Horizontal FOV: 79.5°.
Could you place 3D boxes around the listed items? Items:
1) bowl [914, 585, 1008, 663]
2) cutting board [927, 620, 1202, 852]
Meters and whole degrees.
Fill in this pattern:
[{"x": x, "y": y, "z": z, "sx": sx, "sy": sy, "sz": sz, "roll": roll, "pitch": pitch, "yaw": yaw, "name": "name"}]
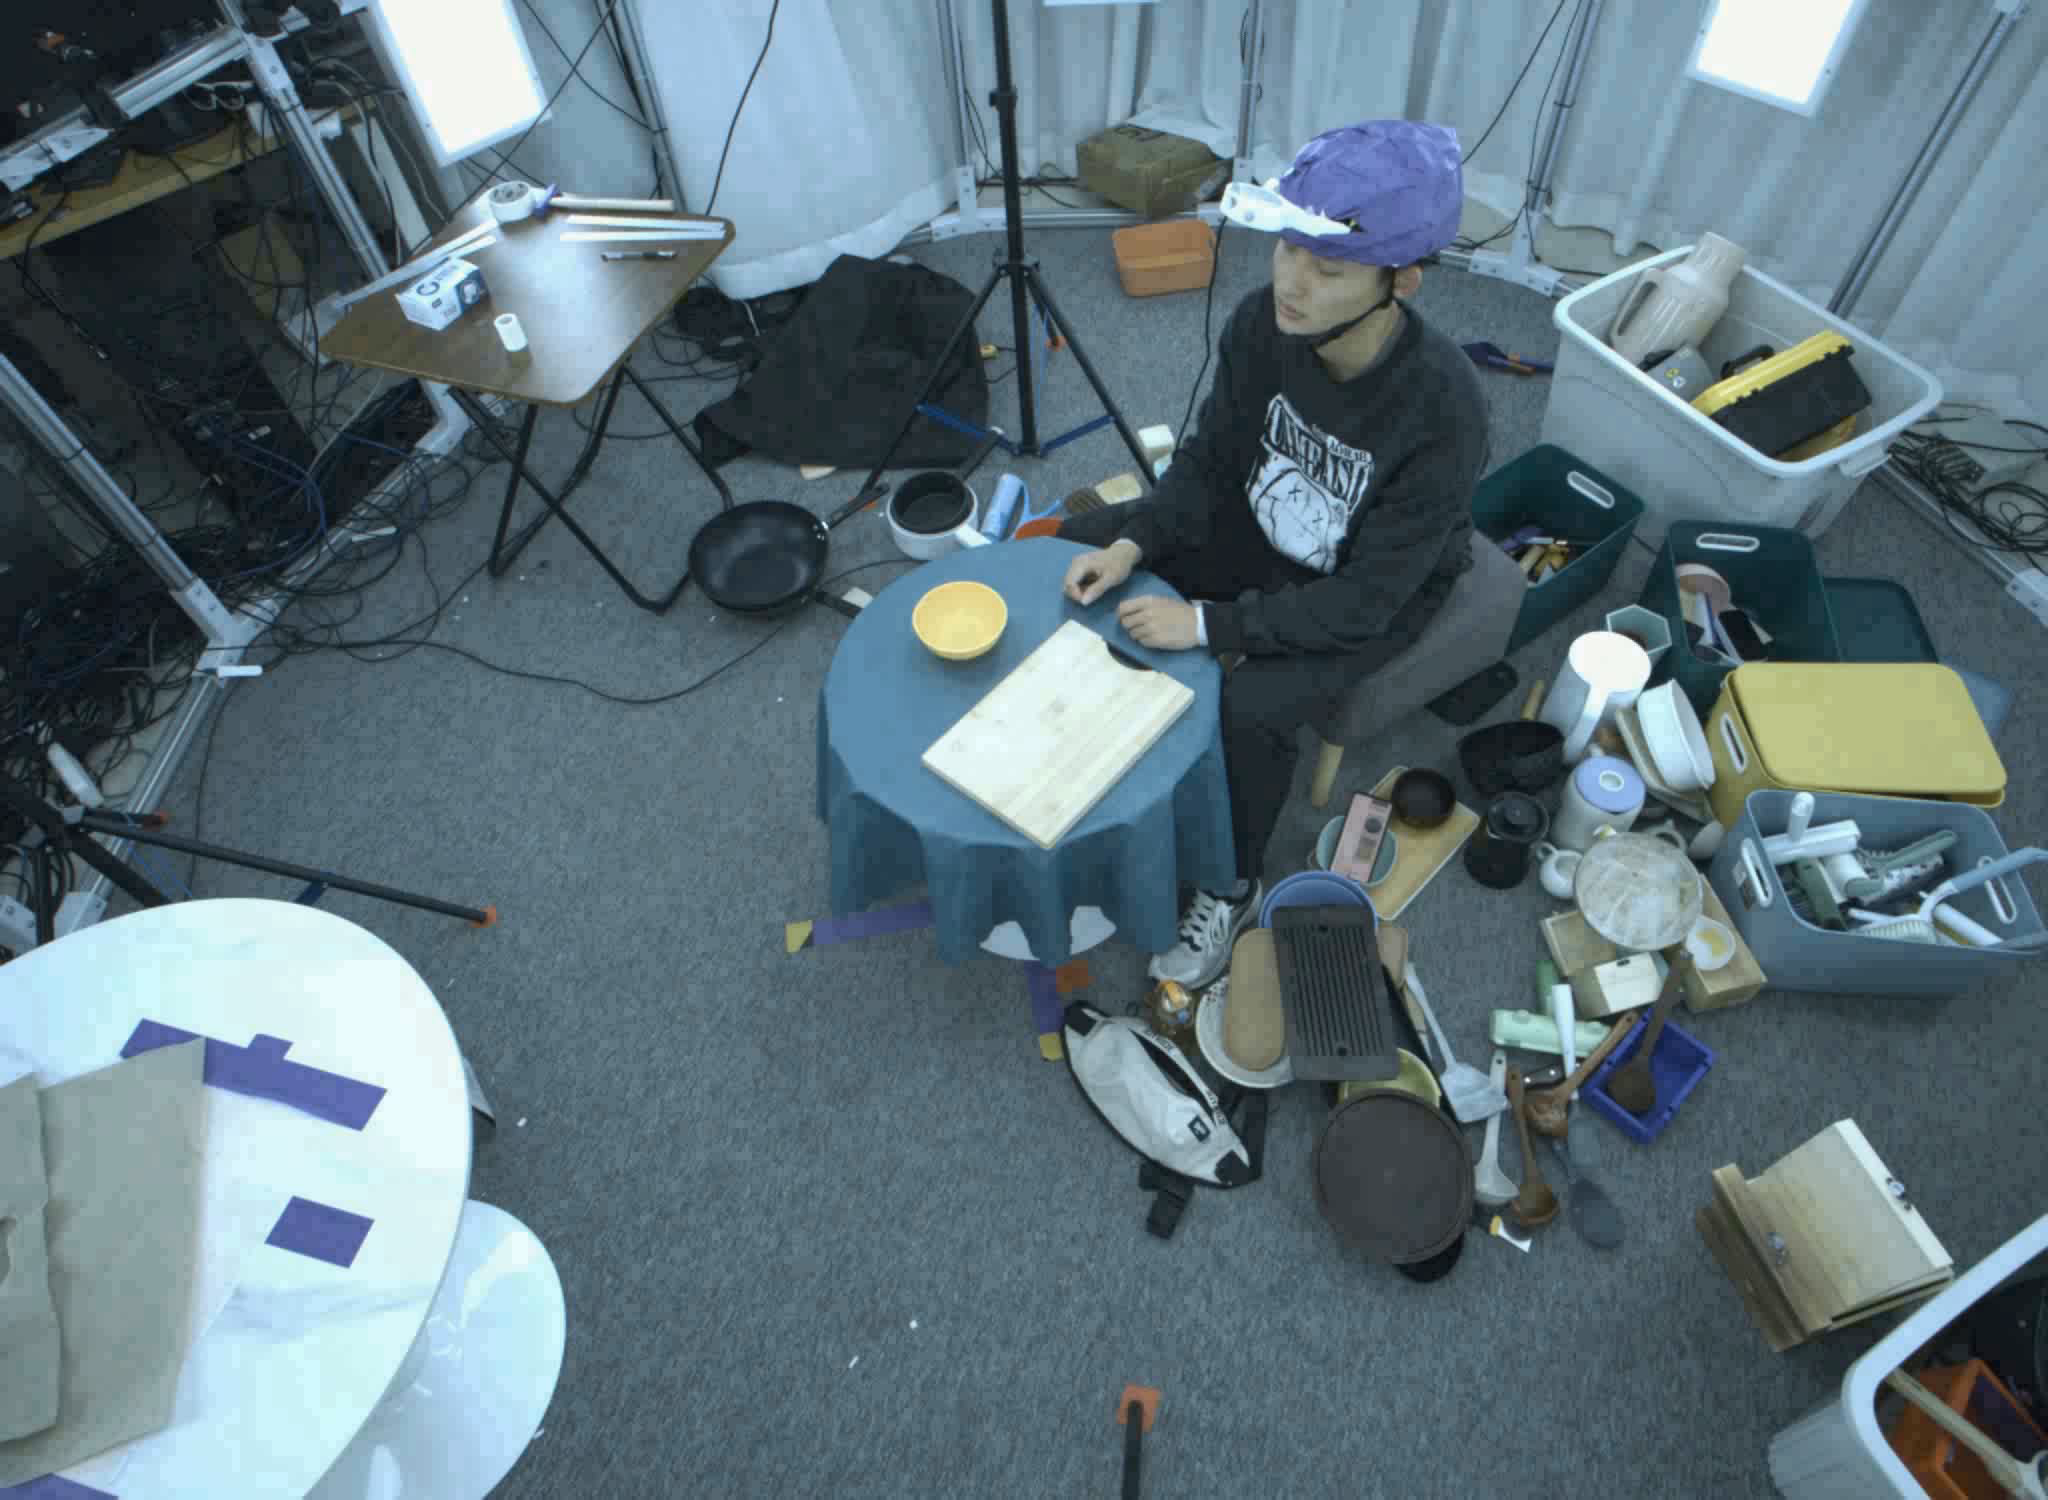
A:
[{"x": -0.097, "y": -0.183, "z": 1.896, "sx": 0.145, "sy": 0.060, "sz": 0.144, "roll": 1, "pitch": 55, "yaw": -1, "name": "bowl"}, {"x": 0.060, "y": -0.031, "z": 1.808, "sx": 0.246, "sy": 0.024, "sz": 0.350, "roll": 33, "pitch": 62, "yaw": 22, "name": "cutting board"}]
